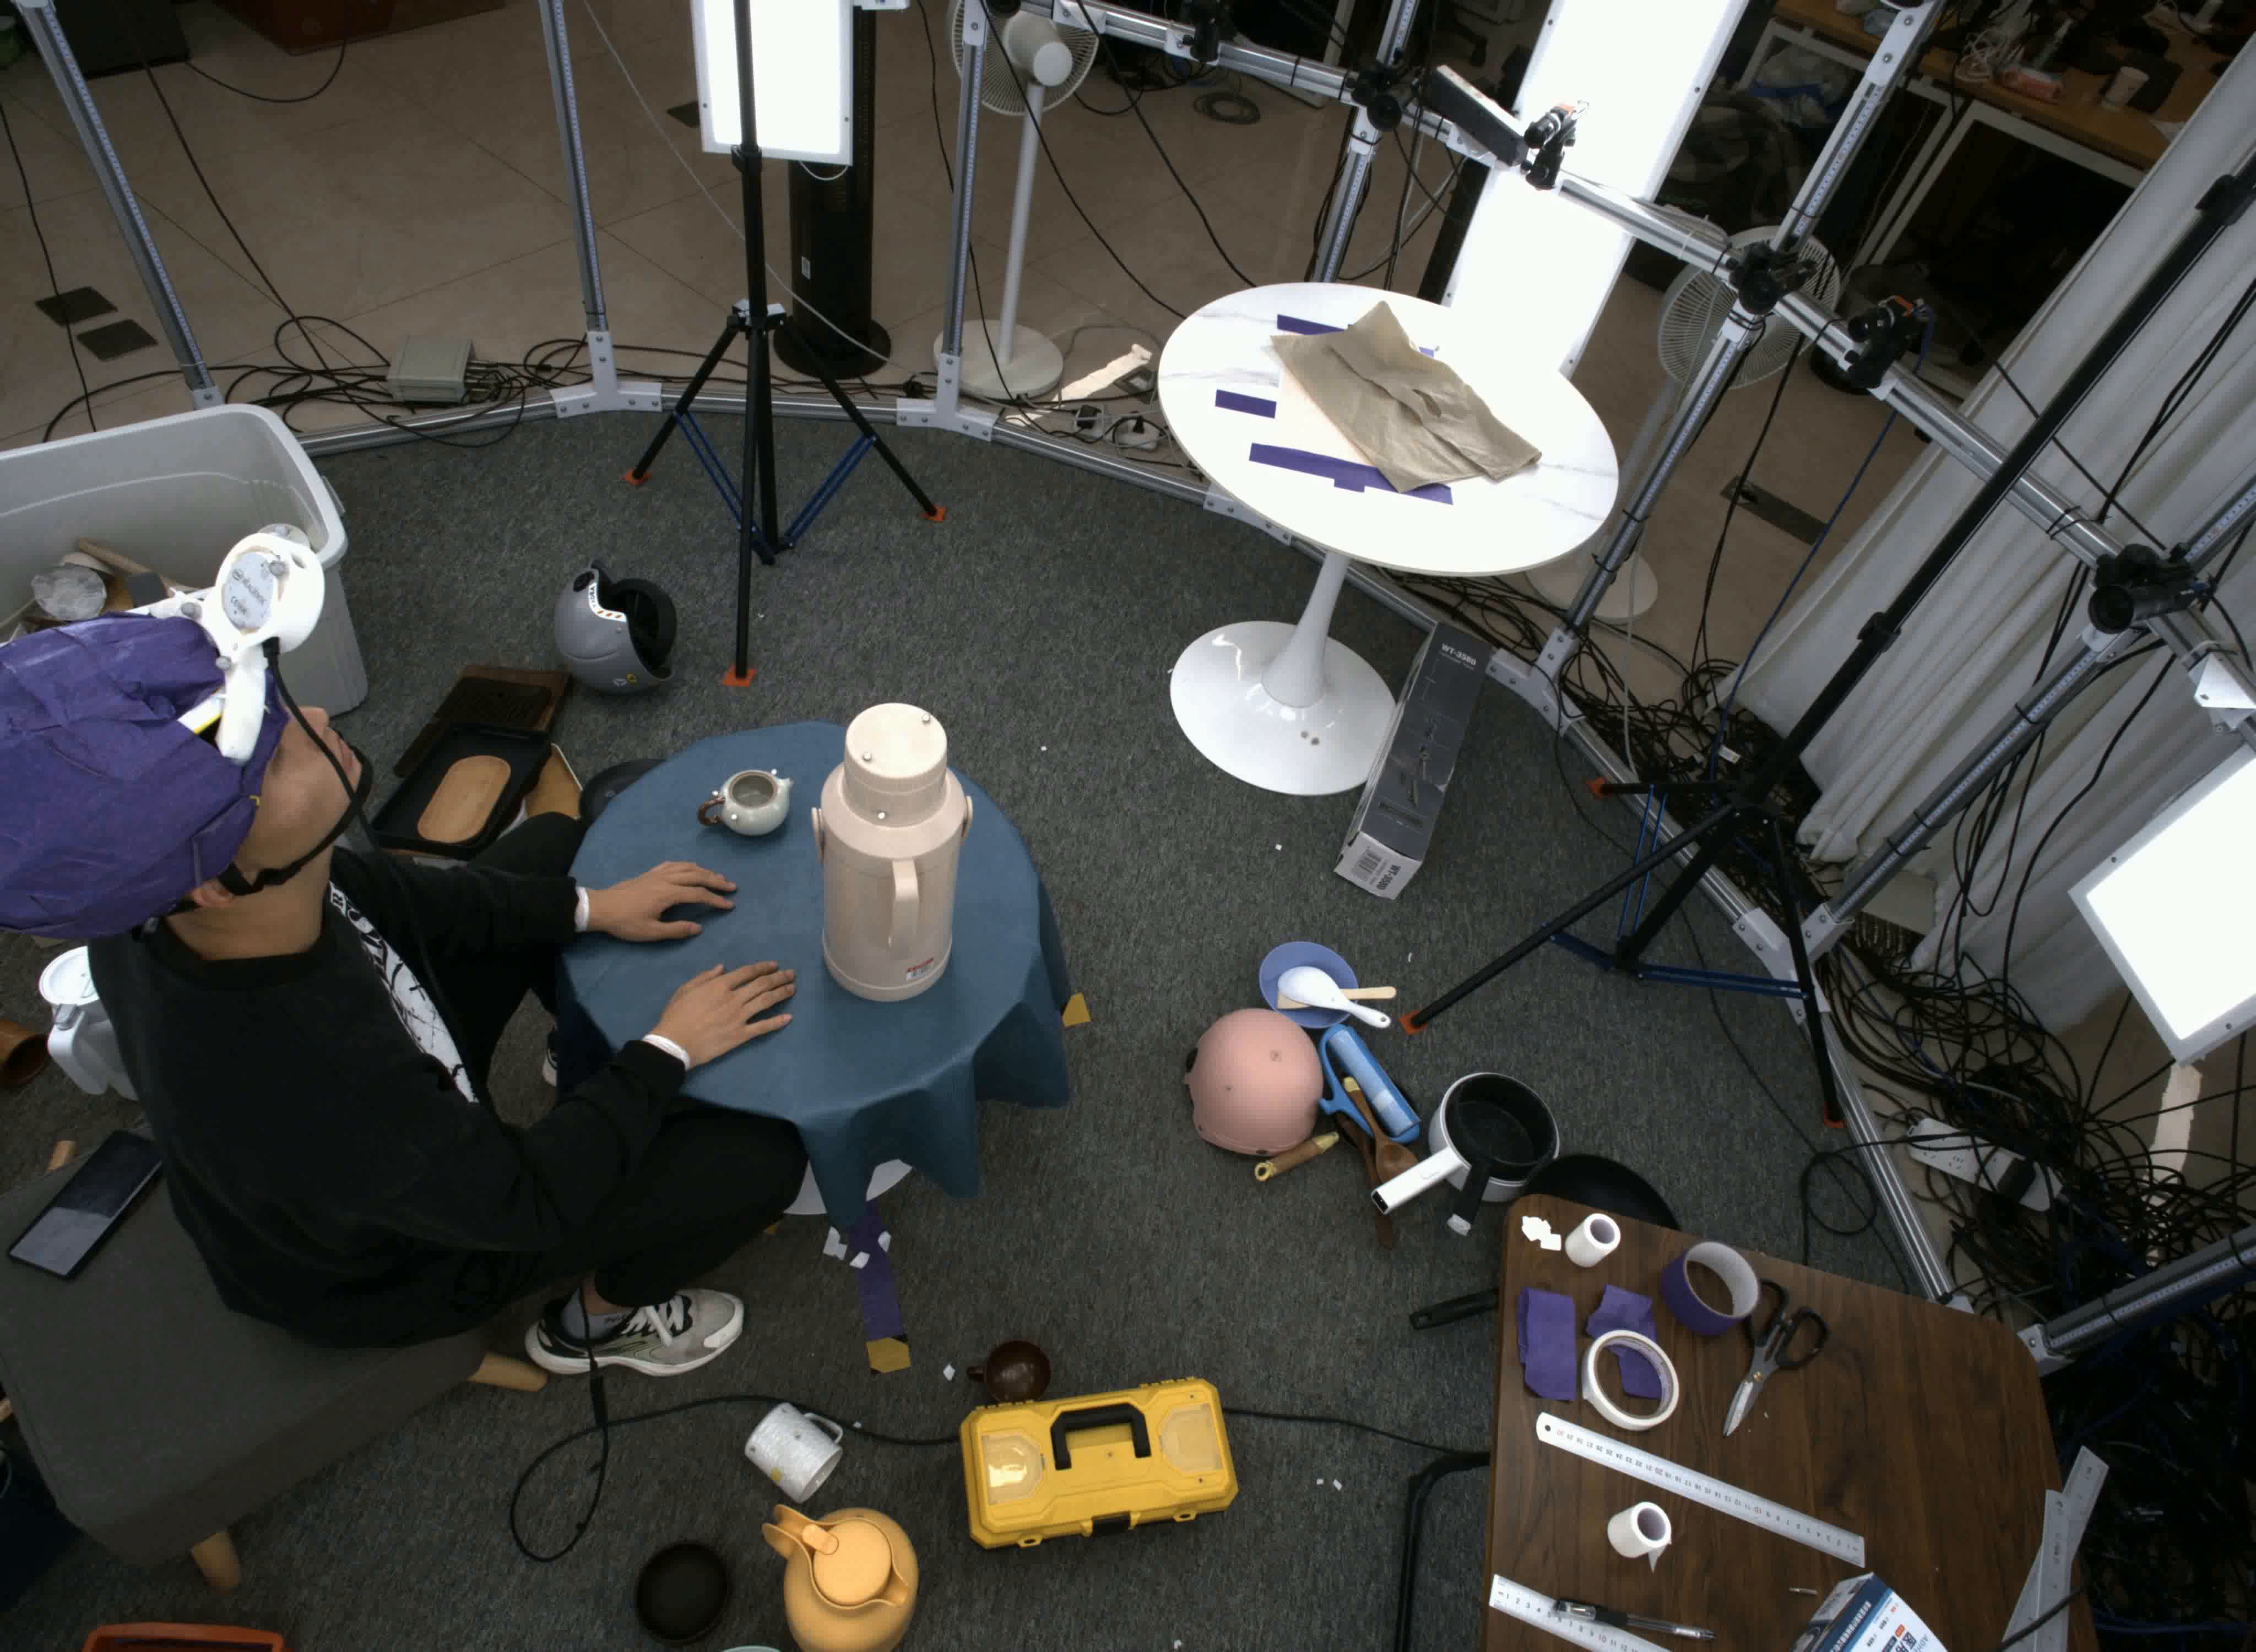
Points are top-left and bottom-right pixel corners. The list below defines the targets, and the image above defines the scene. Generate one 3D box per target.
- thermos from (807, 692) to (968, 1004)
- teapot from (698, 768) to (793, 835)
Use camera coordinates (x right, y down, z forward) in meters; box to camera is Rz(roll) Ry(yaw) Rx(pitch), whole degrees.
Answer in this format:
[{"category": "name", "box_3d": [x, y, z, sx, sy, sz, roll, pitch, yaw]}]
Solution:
[{"category": "thermos", "box_3d": [-0.272, 0.040, 1.475, 0.176, 0.415, 0.202, -6, 53, -18]}, {"category": "teapot", "box_3d": [-0.498, -0.030, 1.686, 0.129, 0.060, 0.090, -19, 63, -26]}]
